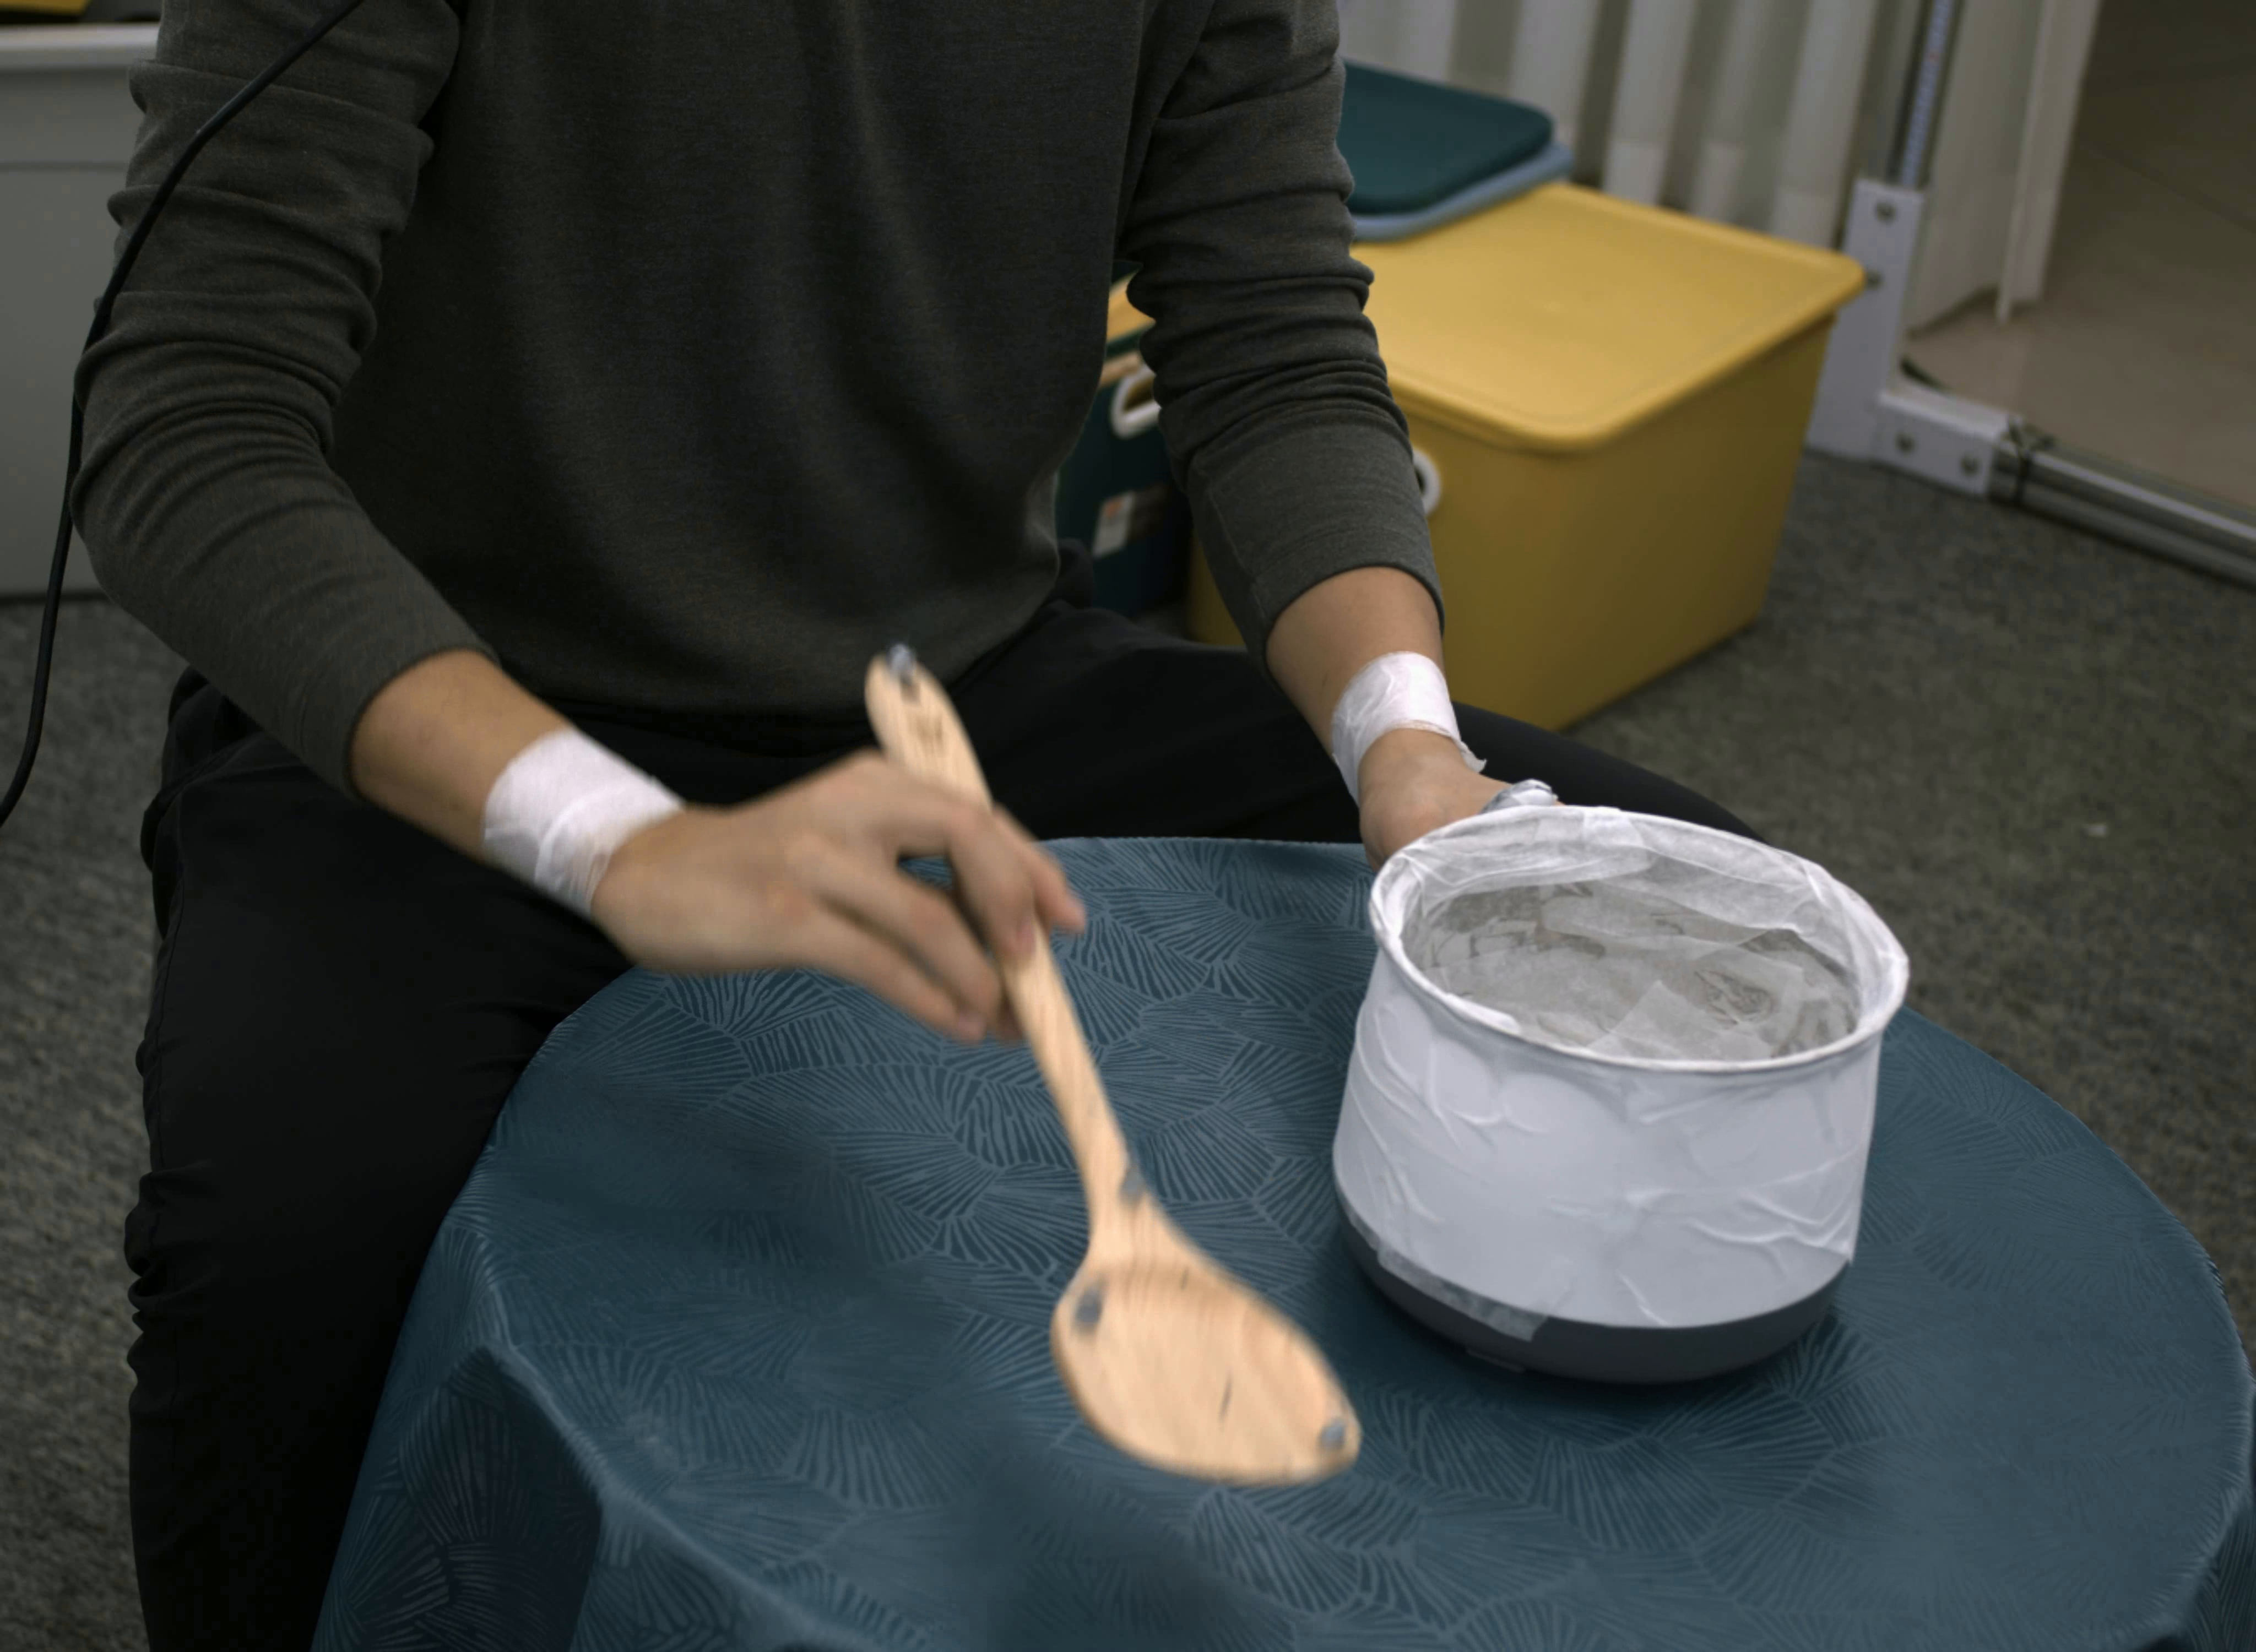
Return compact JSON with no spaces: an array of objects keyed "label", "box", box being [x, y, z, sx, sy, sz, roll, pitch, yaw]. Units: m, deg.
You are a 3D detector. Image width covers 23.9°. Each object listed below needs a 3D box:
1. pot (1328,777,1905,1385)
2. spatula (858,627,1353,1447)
[{"label":"pot","box":[0.150,0.078,1.780,0.177,0.136,0.236,-3,28,-18]},{"label":"spatula","box":[-0.028,0.057,1.679,0.095,0.018,0.394,6,38,-27]}]
